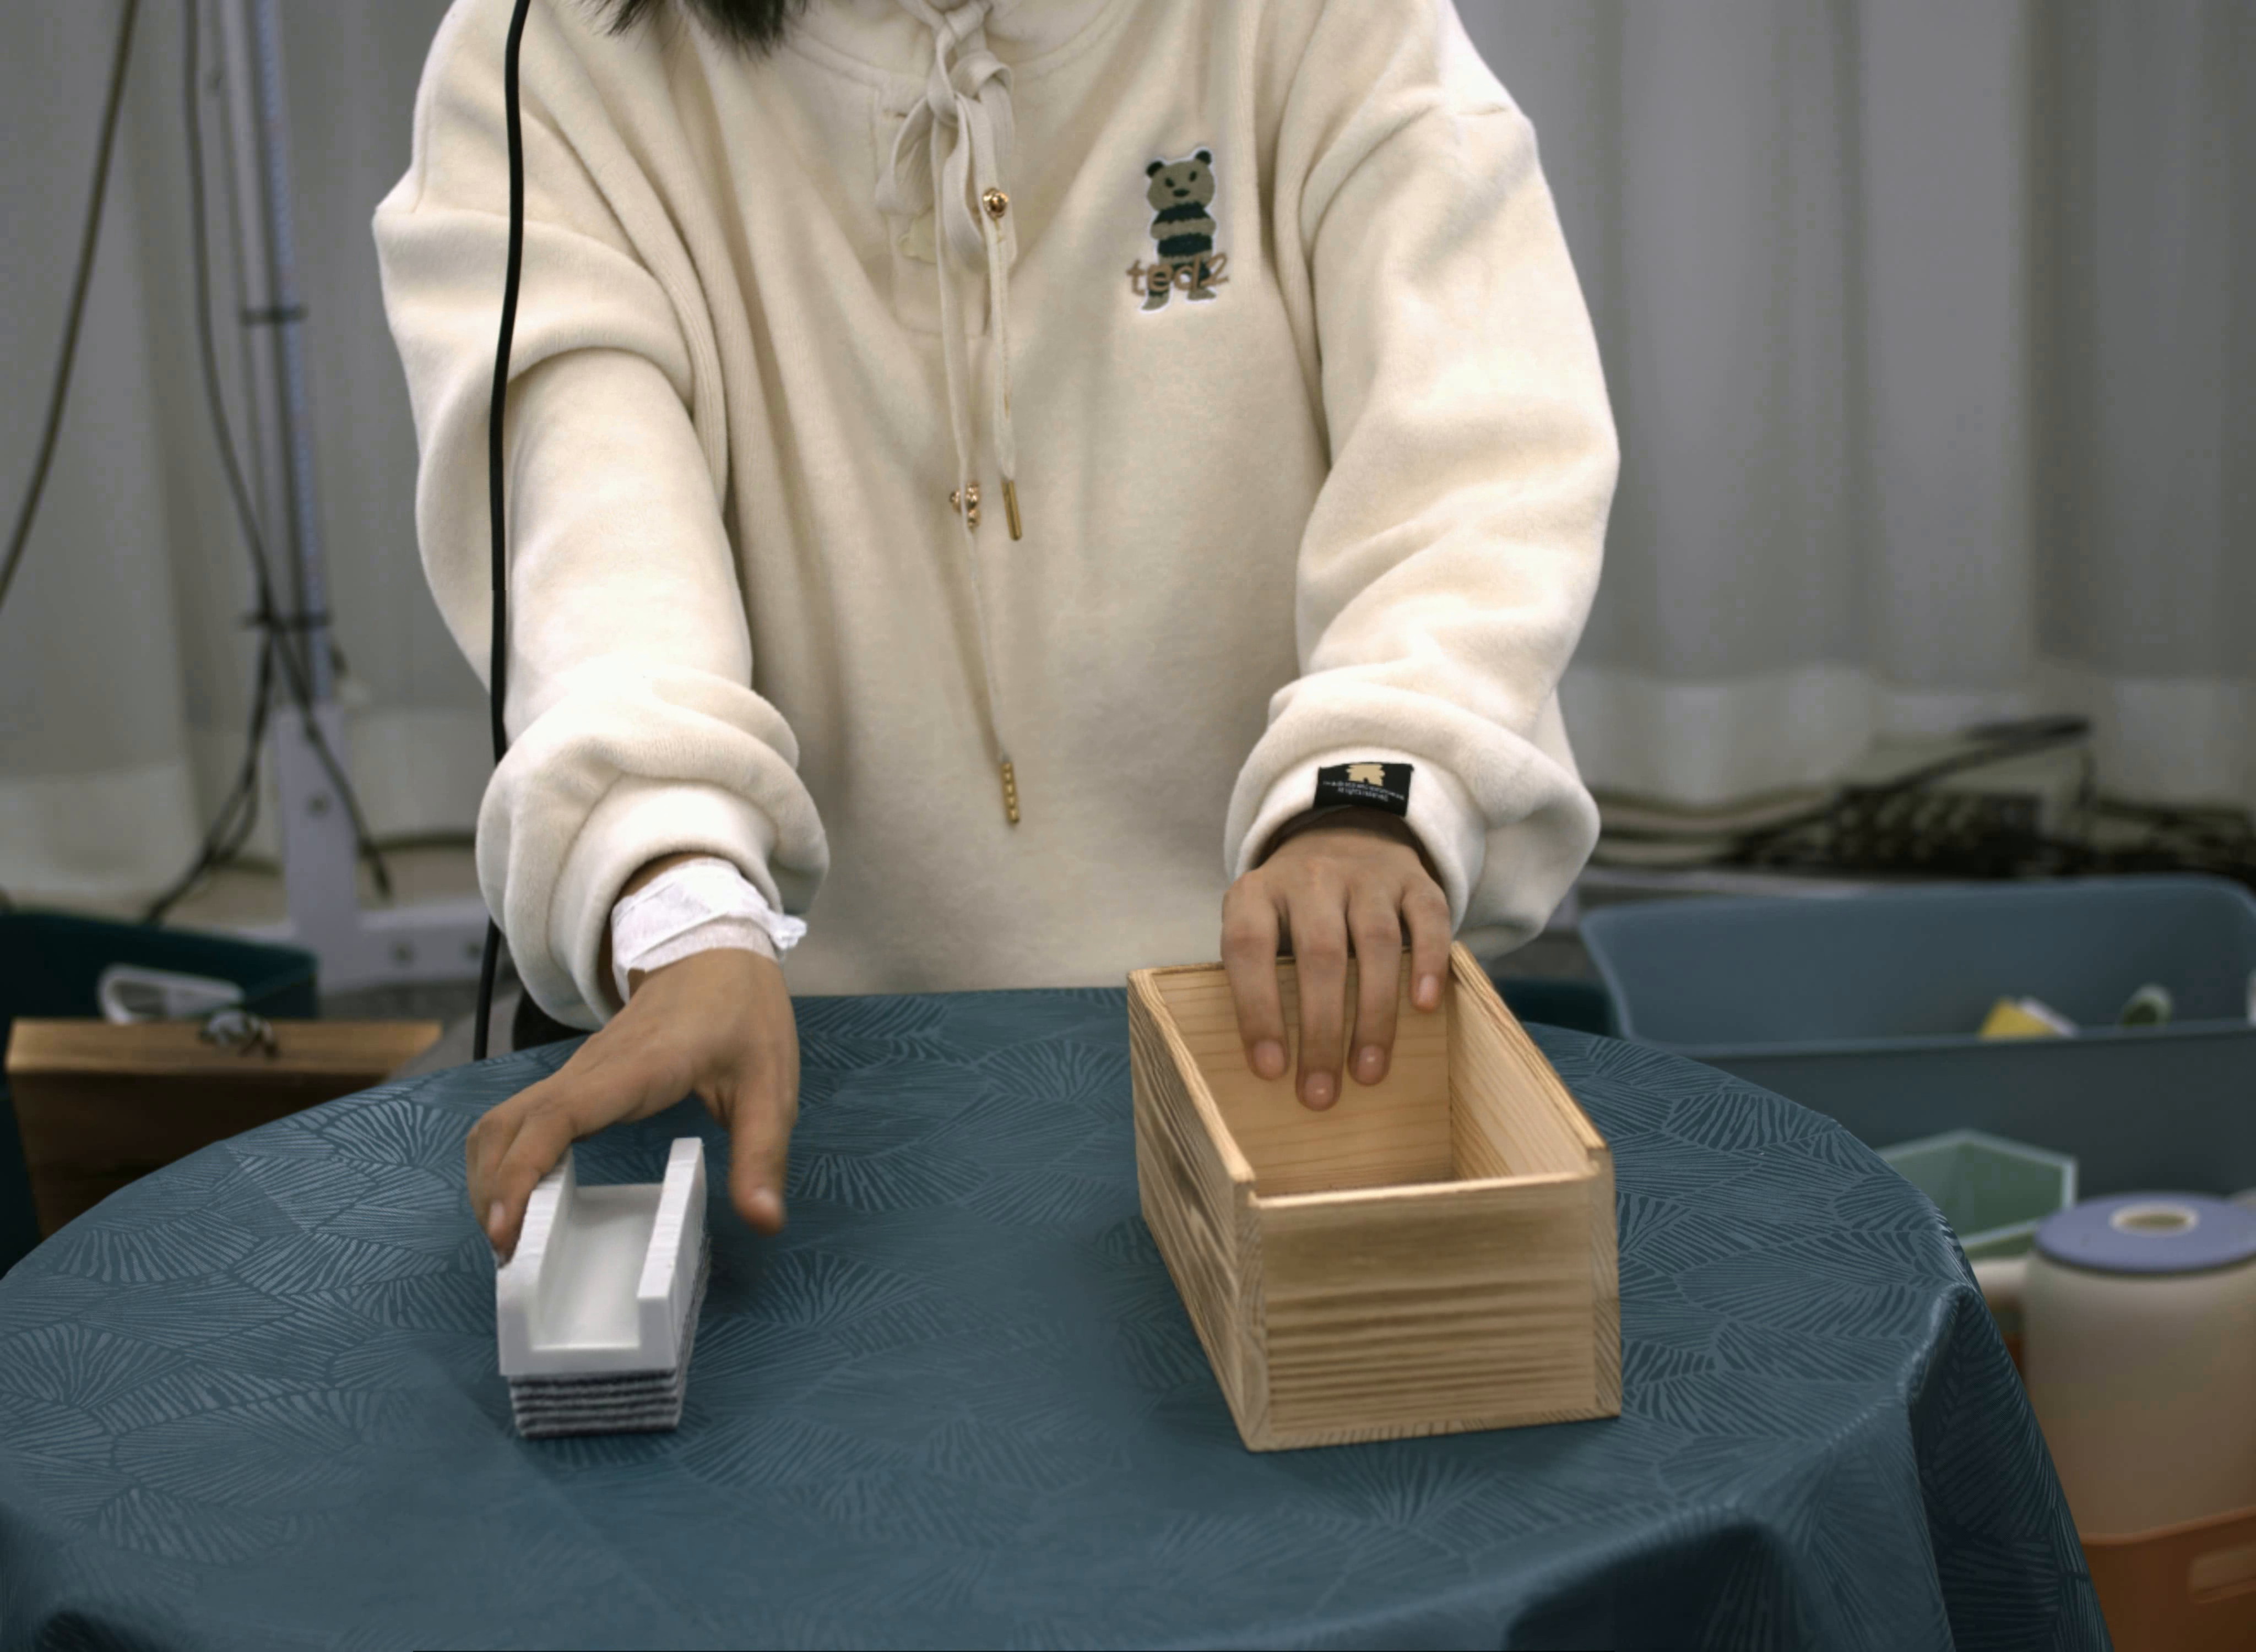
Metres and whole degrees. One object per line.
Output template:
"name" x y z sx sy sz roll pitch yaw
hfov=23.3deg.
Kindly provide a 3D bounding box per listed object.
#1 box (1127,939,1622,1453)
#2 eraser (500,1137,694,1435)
"box" 0.068 0.103 1.591 0.107 0.080 0.213 -4 15 -8
"eraser" -0.152 0.132 1.587 0.049 0.046 0.135 -6 16 -1
